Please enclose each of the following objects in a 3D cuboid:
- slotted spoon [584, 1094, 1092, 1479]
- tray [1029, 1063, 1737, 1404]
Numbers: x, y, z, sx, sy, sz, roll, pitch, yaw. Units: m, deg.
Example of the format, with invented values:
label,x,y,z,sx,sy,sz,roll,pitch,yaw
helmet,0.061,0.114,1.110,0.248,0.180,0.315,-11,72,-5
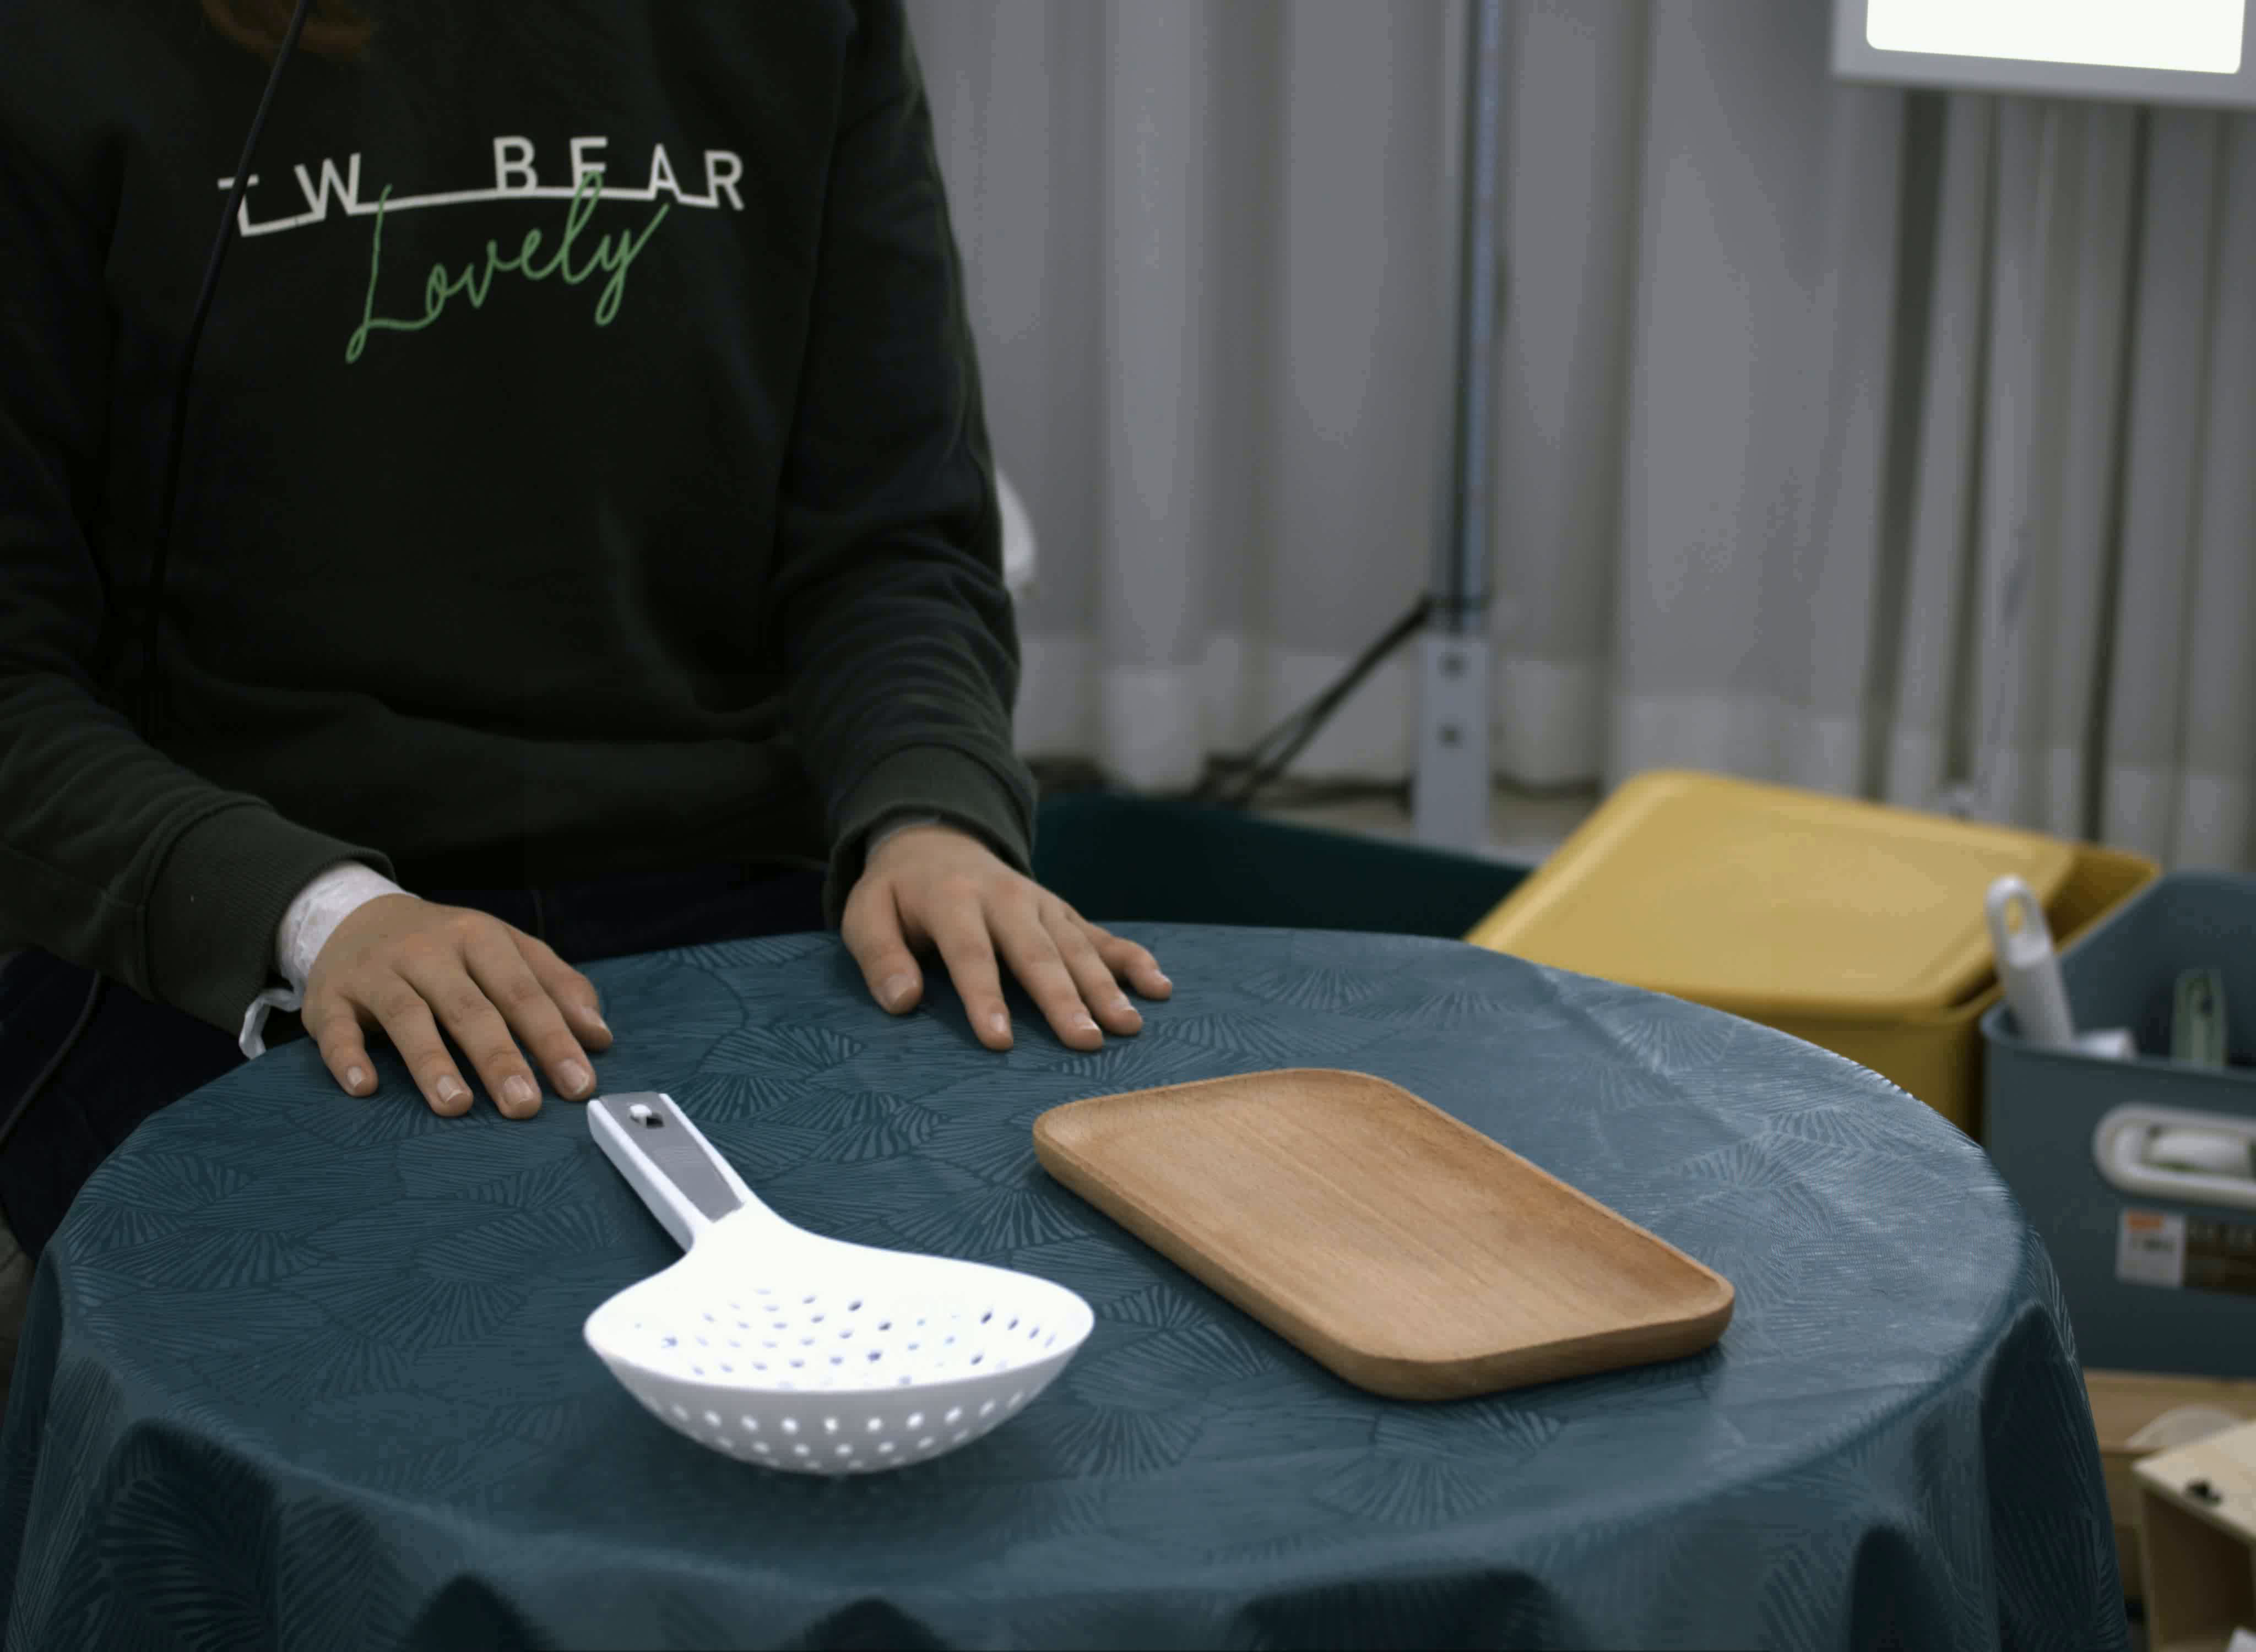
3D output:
label,x,y,z,sx,sy,sz,roll,pitch,yaw
slotted spoon,-0.109,0.122,1.506,0.136,0.046,0.346,-2,15,-17
tray,0.072,0.119,1.577,0.131,0.023,0.247,-5,16,-26
